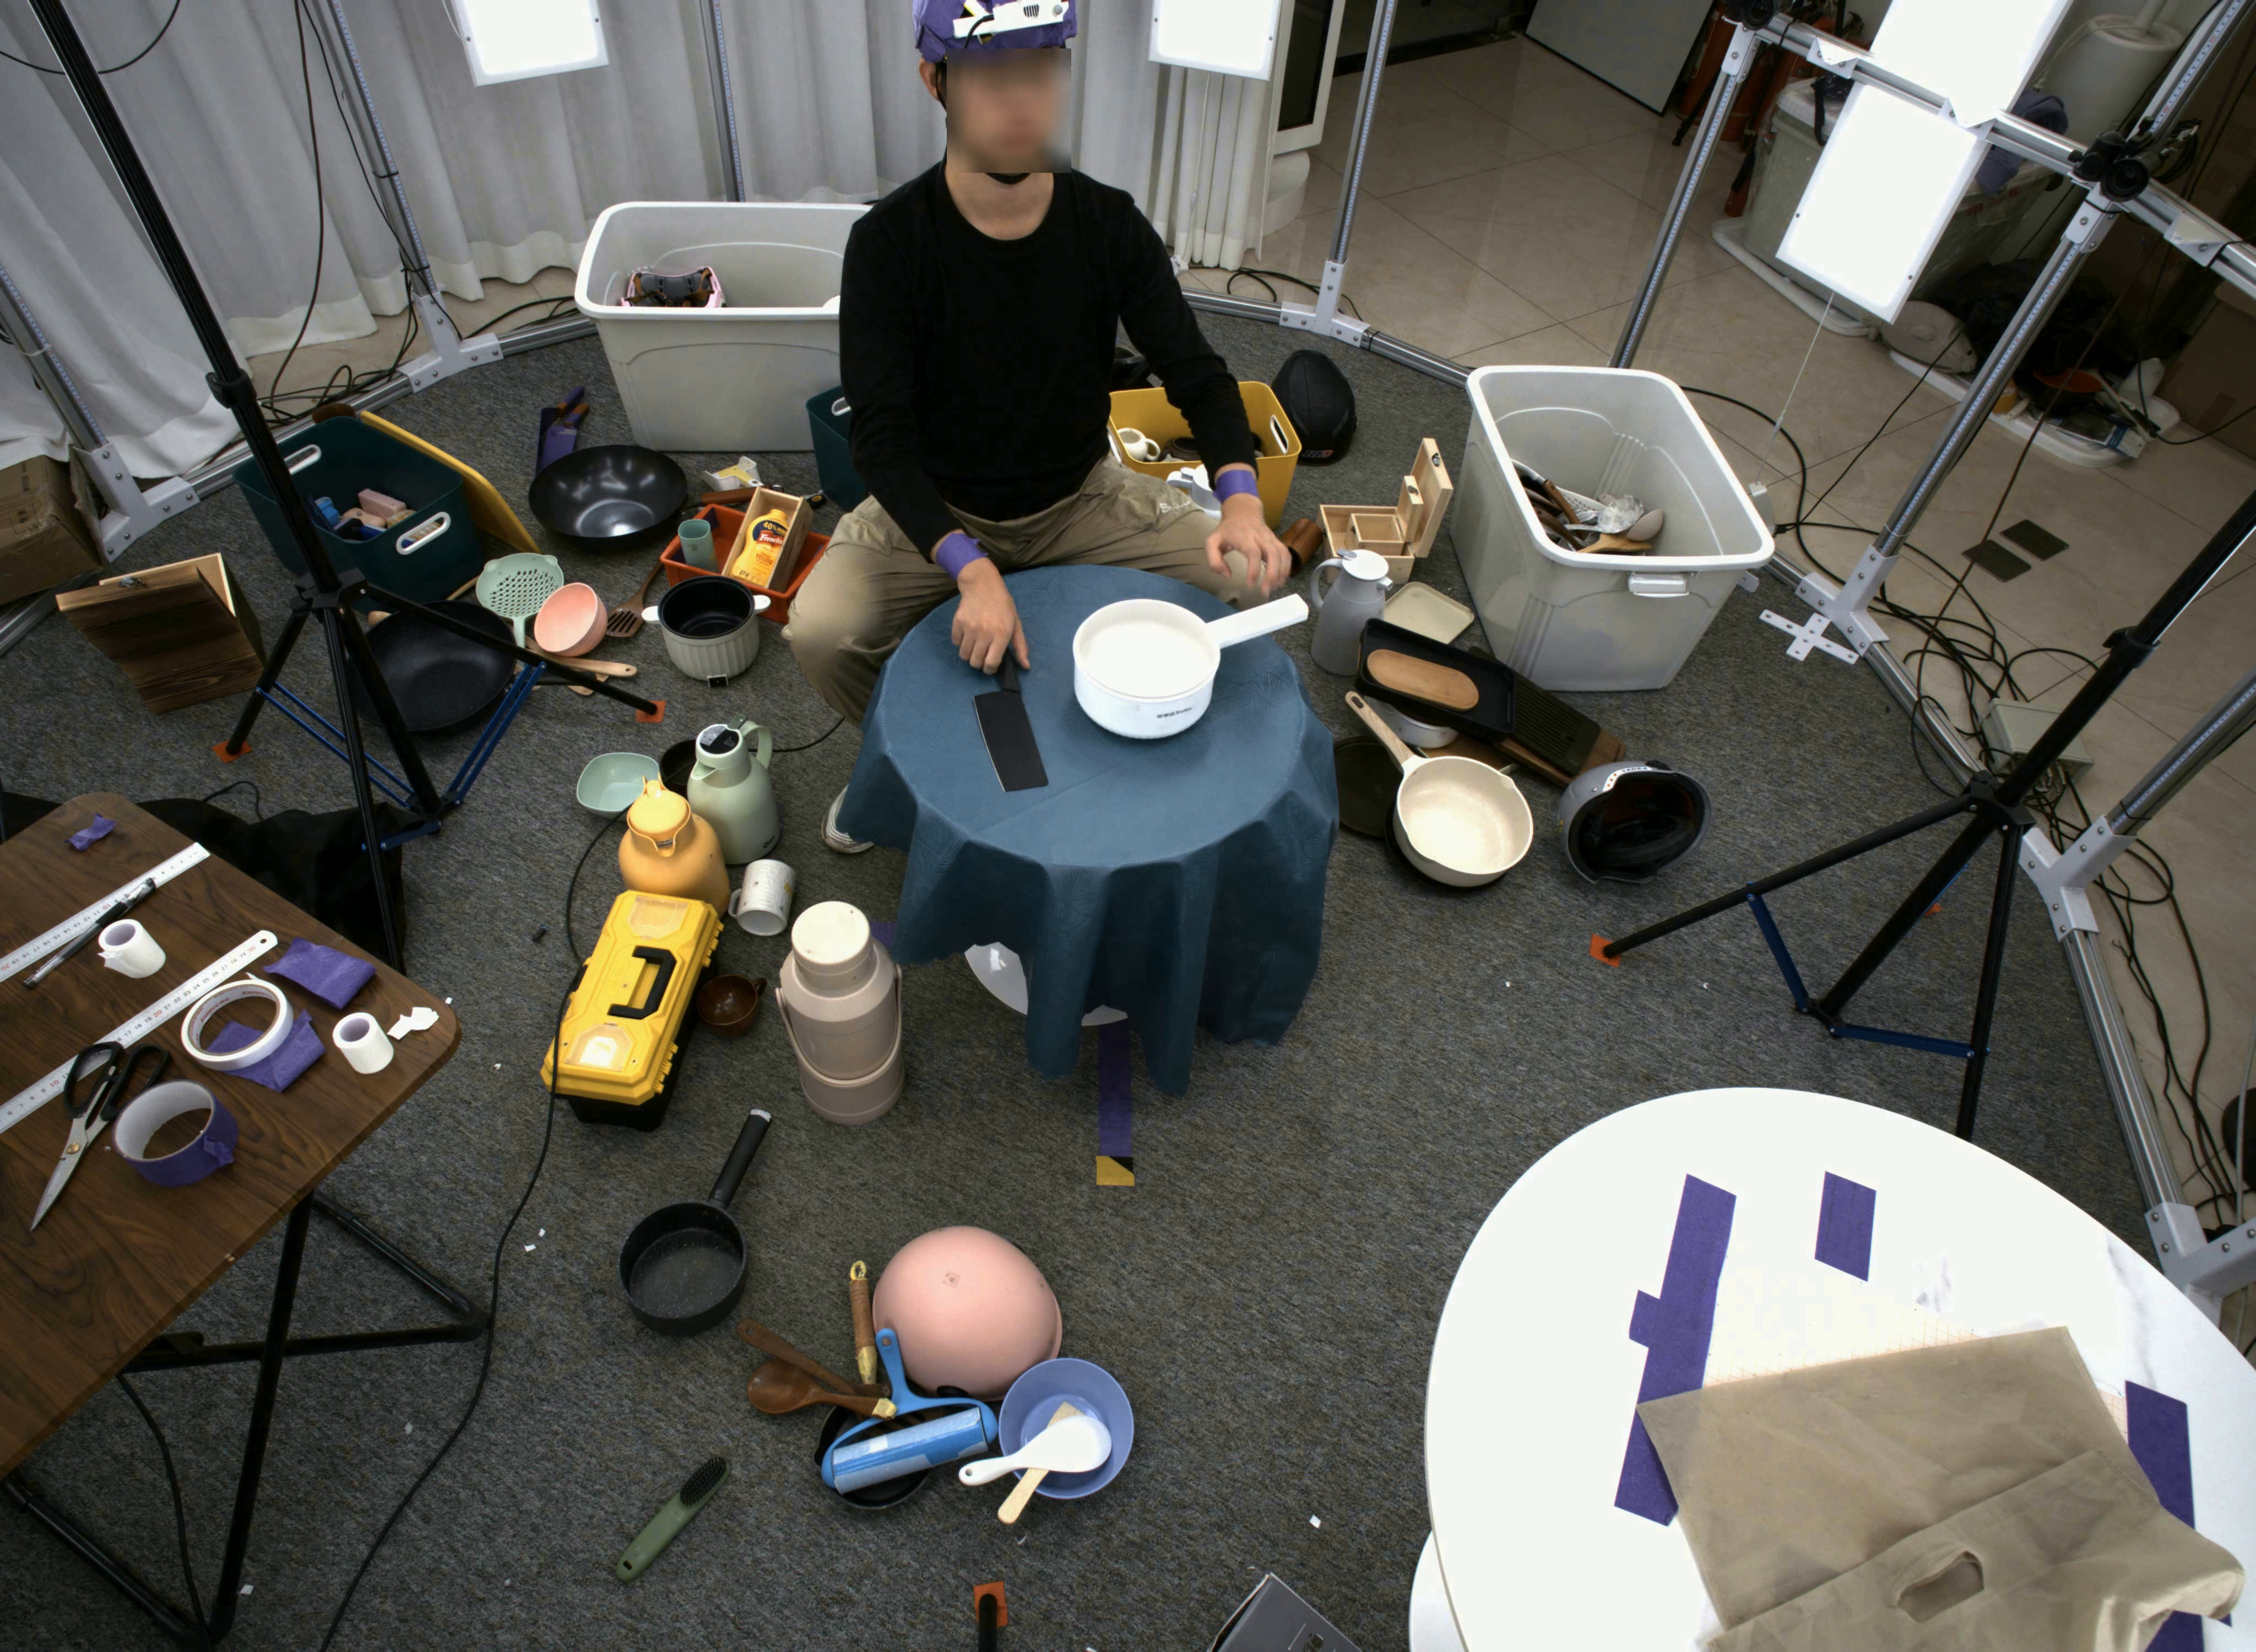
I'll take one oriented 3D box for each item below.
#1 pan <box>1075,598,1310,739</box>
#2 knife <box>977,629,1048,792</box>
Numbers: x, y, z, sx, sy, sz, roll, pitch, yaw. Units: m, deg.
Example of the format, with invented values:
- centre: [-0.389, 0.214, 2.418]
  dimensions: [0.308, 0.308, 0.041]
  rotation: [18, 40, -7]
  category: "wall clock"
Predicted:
- centre: [0.092, -0.237, 1.819]
  dimensions: [0.355, 0.099, 0.205]
  rotation: [-19, 52, -20]
  category: "pan"
- centre: [-0.171, -0.167, 1.794]
  dimensions: [0.081, 0.020, 0.310]
  rotation: [-7, 52, -8]
  category: "knife"
